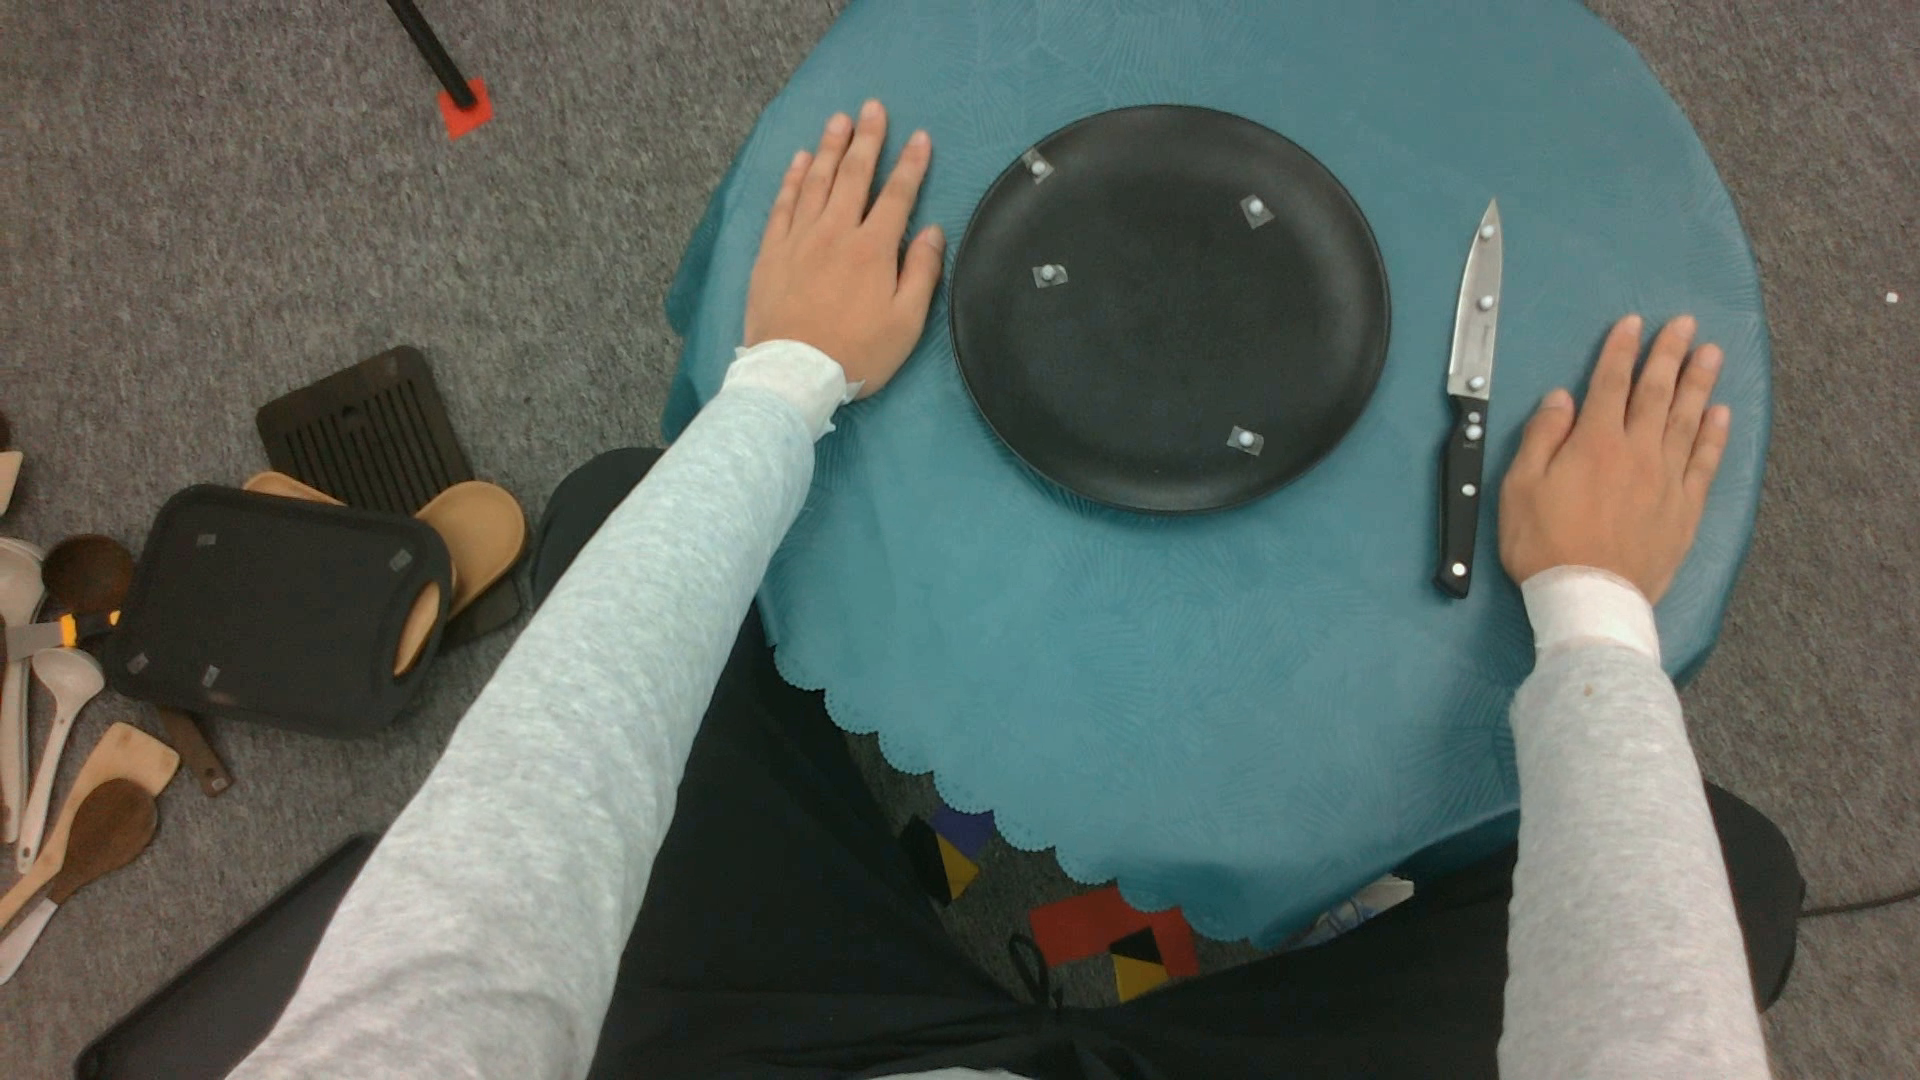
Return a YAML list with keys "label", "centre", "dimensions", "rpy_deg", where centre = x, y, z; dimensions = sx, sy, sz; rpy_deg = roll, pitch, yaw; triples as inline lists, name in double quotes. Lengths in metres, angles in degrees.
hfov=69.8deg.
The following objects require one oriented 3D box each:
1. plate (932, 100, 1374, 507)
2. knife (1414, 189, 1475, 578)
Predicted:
- label: "plate"
  centre: [0.106, -0.134, 0.770]
  dimensions: [0.244, 0.023, 0.245]
  rpy_deg: [0, 75, 1]
- label: "knife"
  centre: [0.272, -0.091, 0.762]
  dimensions: [0.024, 0.016, 0.239]
  rpy_deg: [10, 72, 4]
